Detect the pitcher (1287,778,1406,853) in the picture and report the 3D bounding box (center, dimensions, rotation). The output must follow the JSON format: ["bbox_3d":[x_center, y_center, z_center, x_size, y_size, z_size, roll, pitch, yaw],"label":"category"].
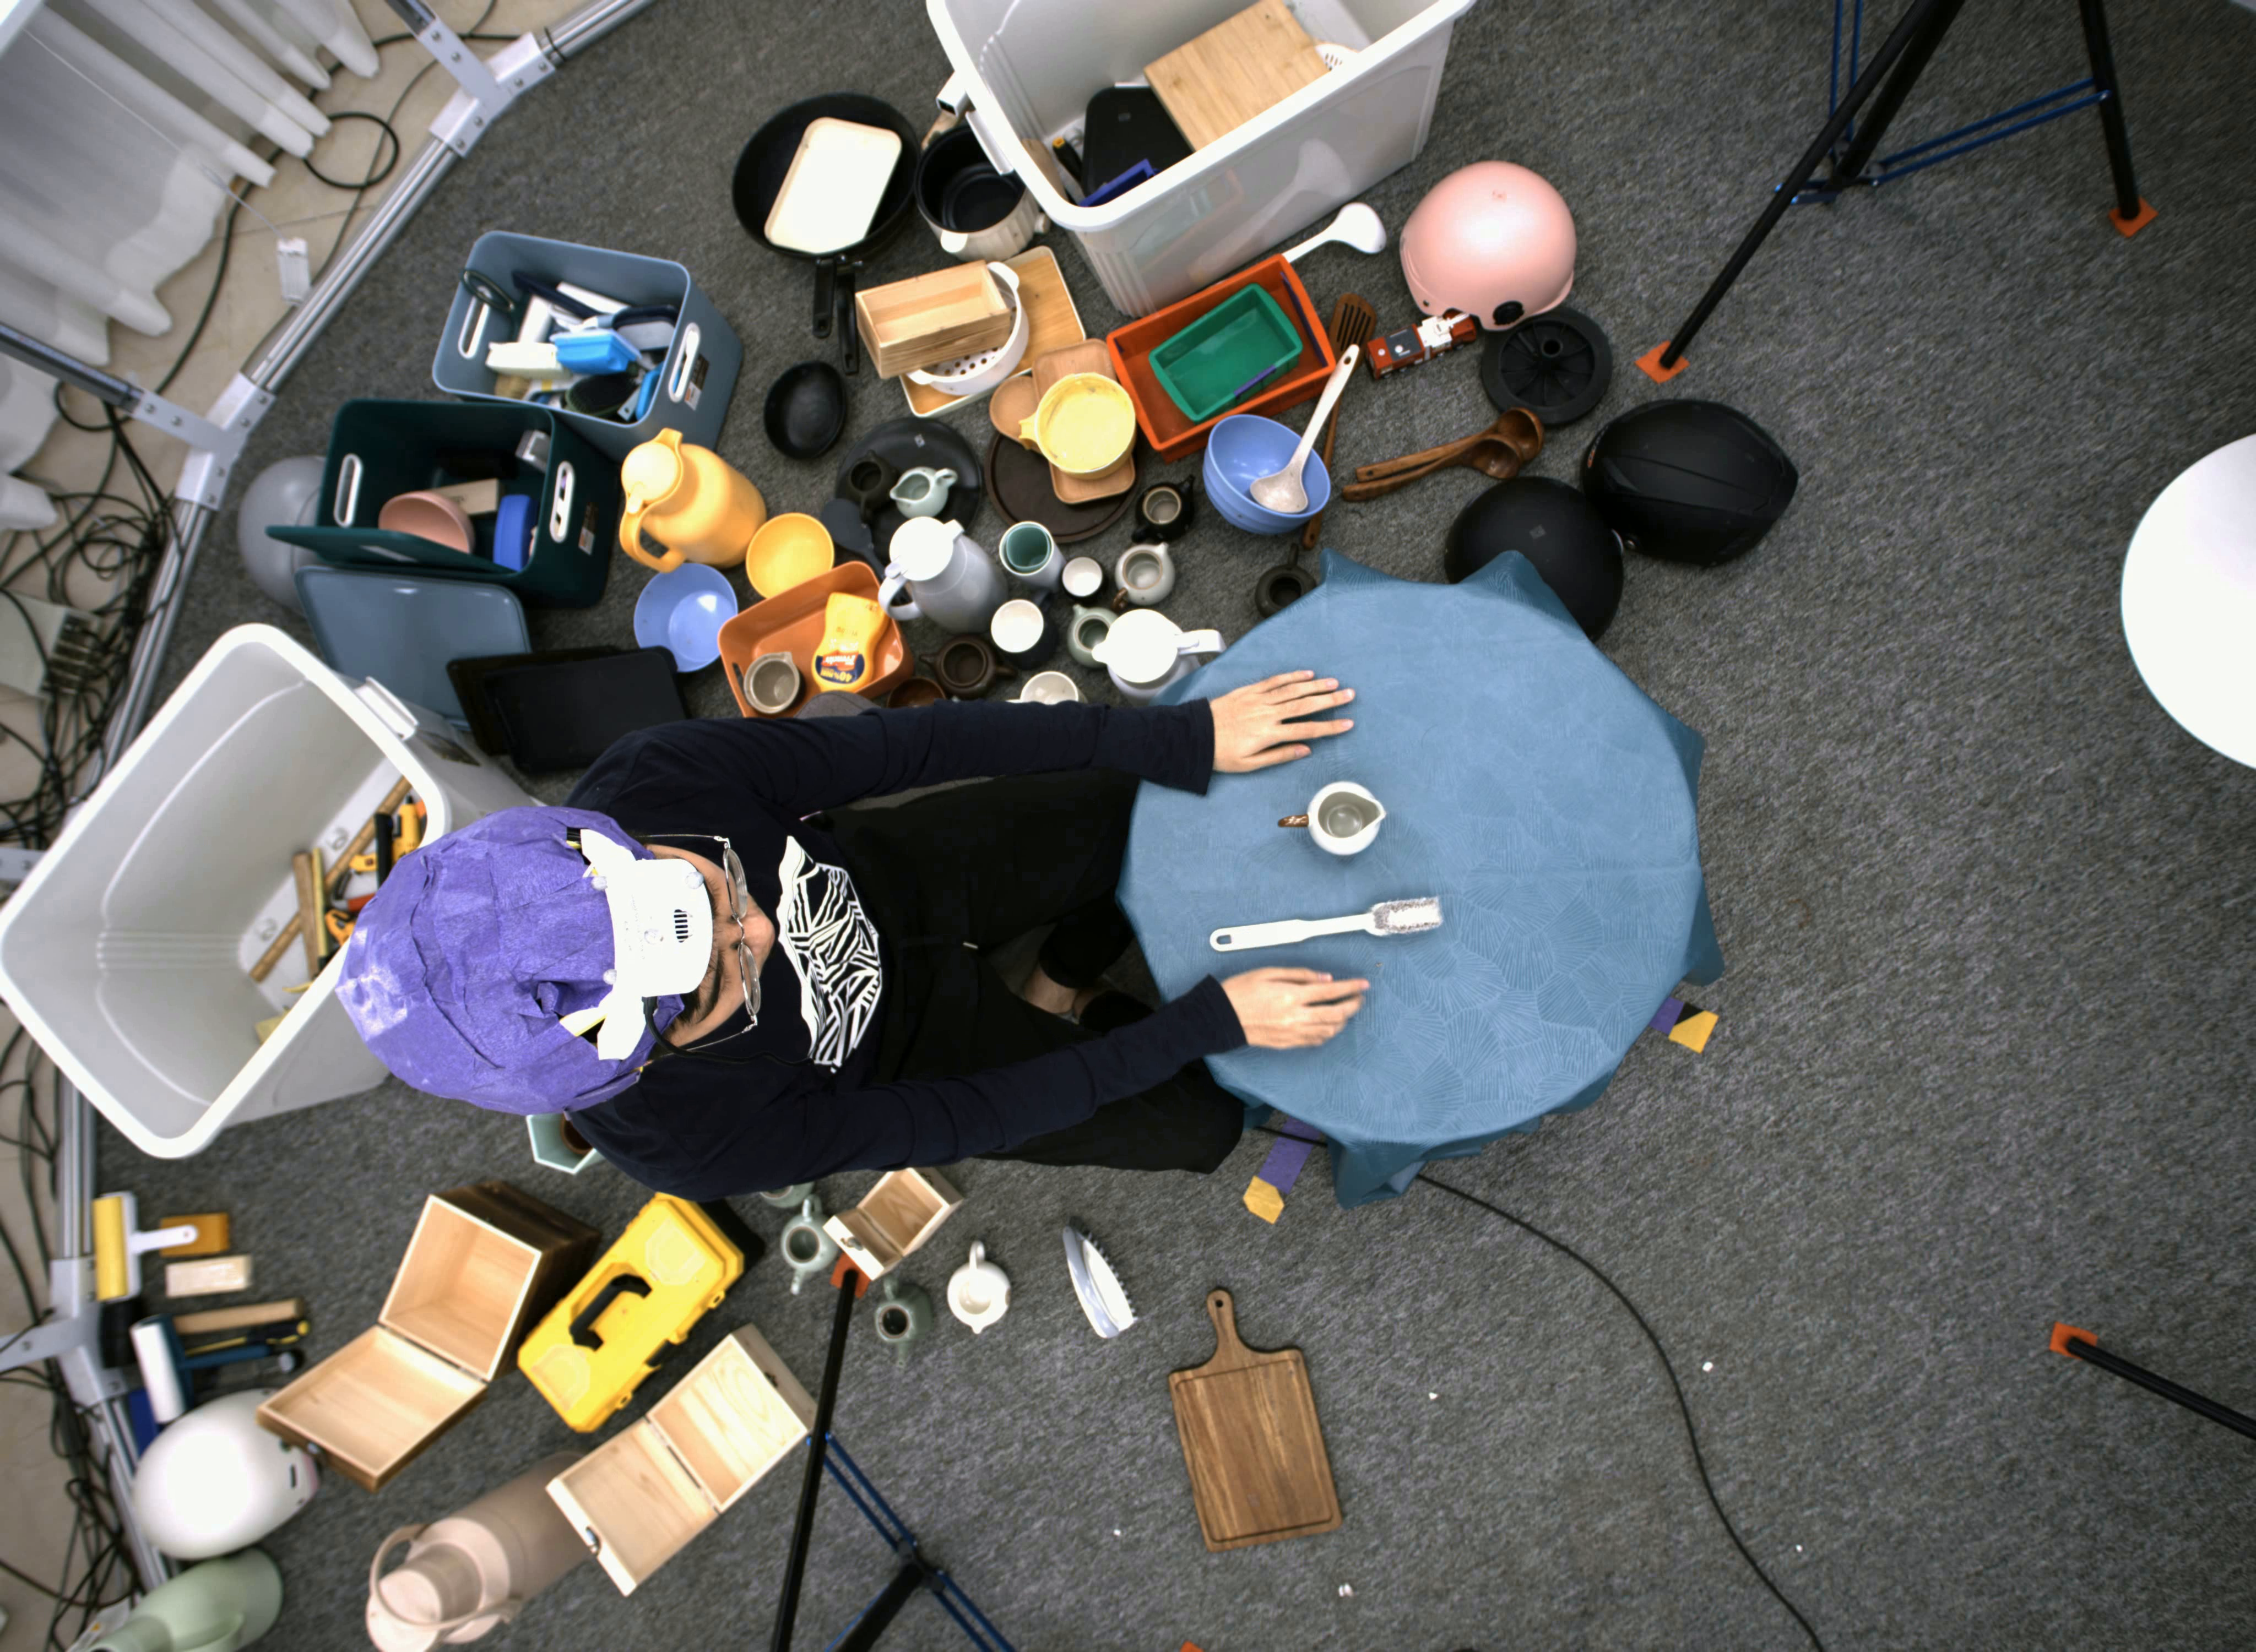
[{"bbox_3d":[0.224,-0.010,1.426,0.119,0.088,0.075,-3,81,7],"label":"pitcher"}]

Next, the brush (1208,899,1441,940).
[{"bbox_3d":[0.203,0.100,1.446,0.245,0.050,0.034,-5,91,10],"label":"brush"}]
